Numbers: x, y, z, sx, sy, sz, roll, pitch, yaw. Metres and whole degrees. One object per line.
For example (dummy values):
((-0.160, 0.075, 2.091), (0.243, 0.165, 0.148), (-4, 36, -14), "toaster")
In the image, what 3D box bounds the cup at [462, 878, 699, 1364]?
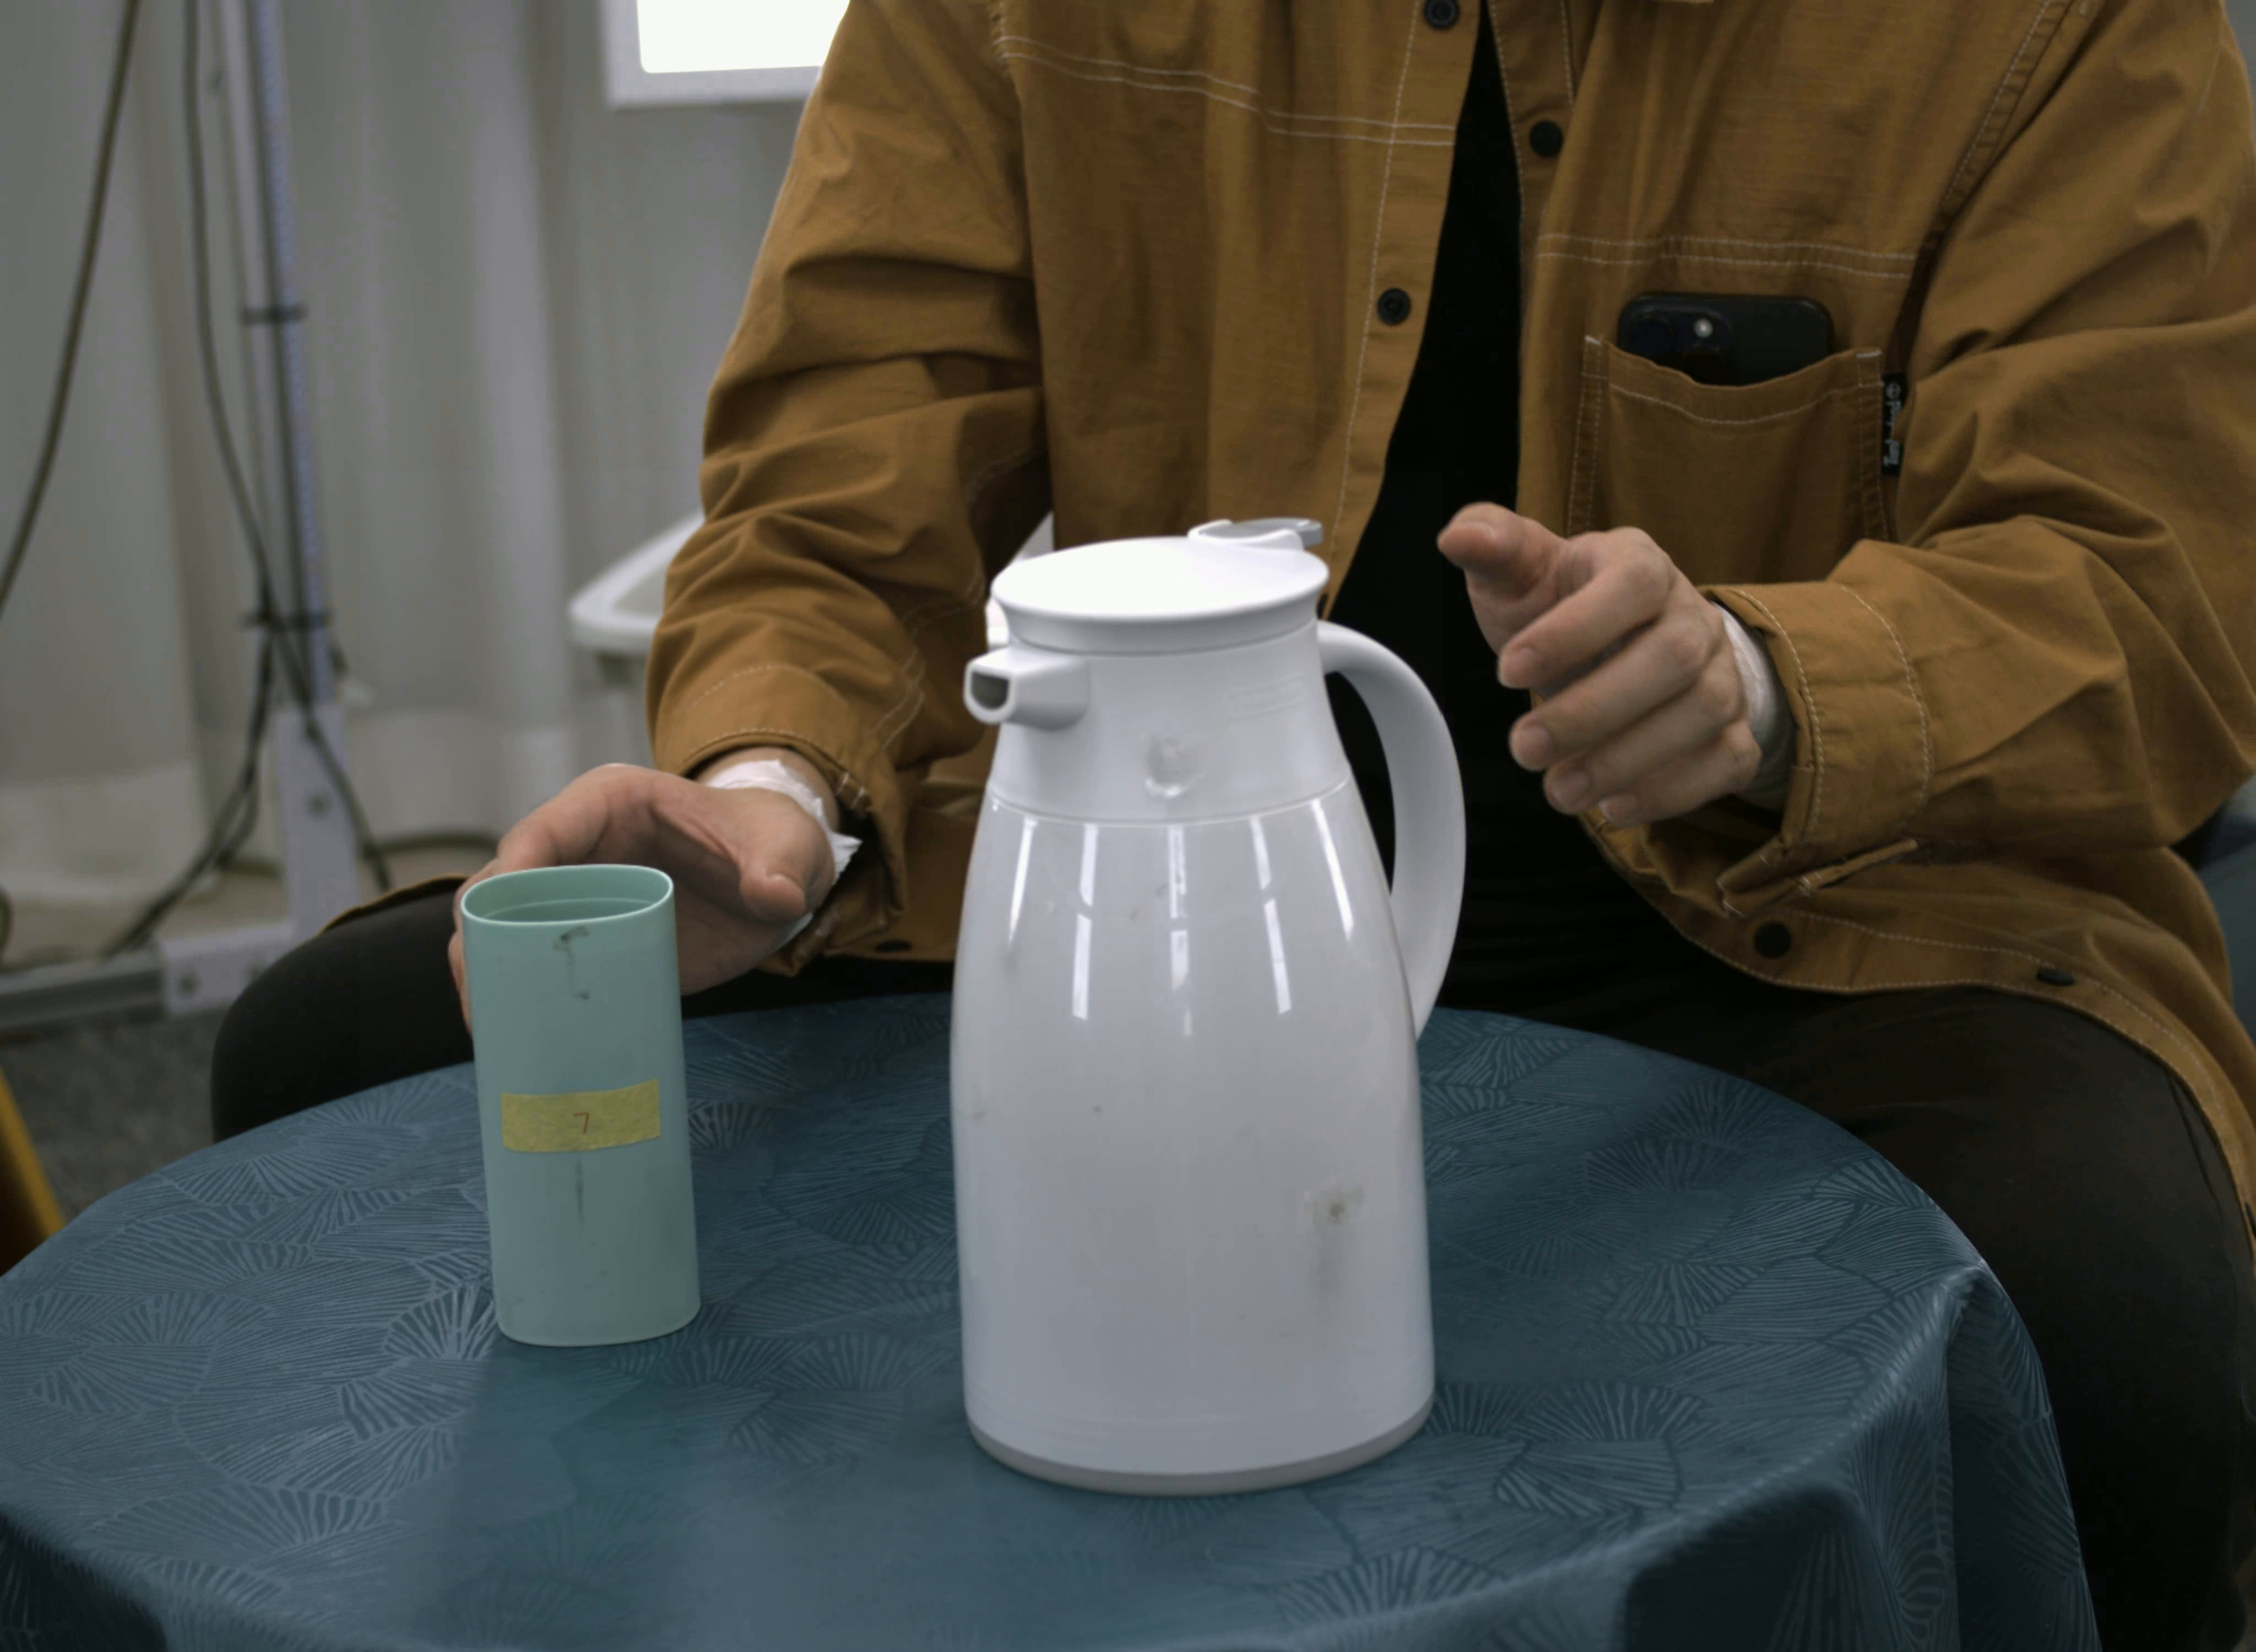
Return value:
((-0.160, 0.086, 1.616), (0.066, 0.132, 0.067), (-2, 14, 0), "cup")

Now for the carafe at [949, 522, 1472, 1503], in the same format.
((0.028, 0.042, 1.511), (0.167, 0.247, 0.133), (-13, 18, -40), "carafe")
